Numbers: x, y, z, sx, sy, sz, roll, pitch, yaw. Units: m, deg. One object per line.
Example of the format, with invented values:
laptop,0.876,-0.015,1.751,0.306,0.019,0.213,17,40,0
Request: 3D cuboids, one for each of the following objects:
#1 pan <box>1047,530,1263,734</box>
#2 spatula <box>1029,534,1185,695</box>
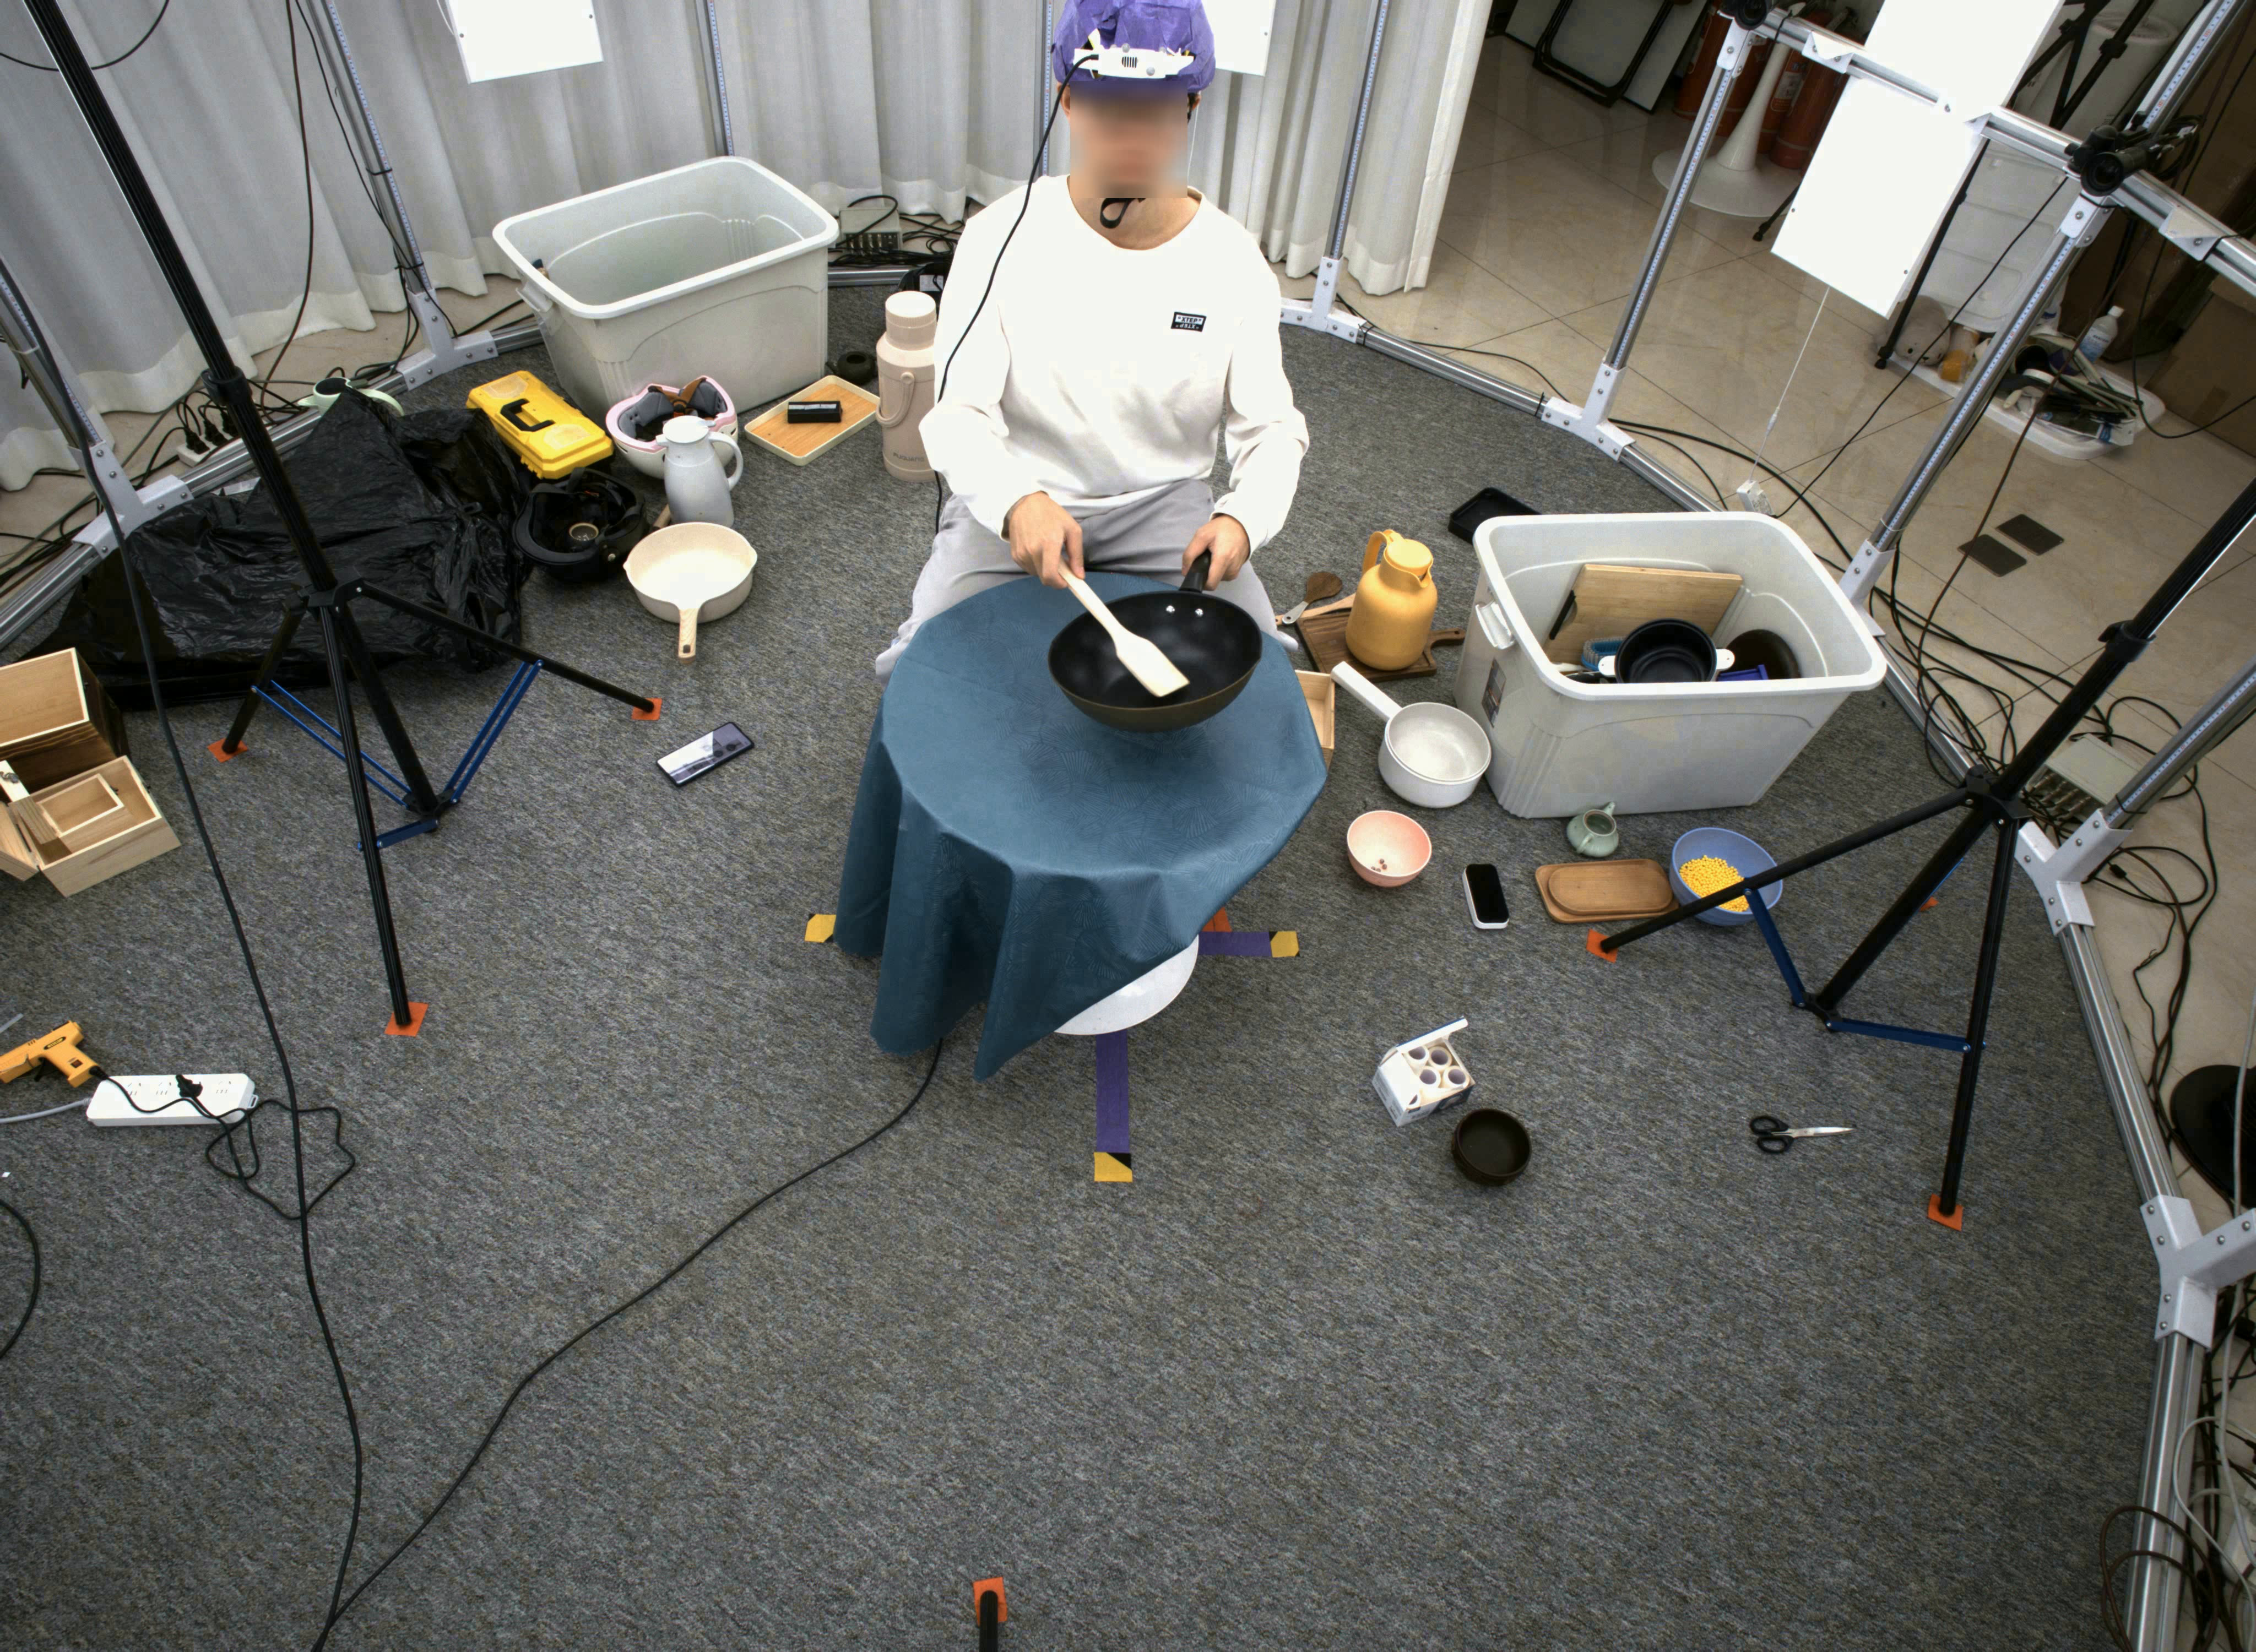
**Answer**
pan,0.068,-0.263,1.762,0.289,0.085,0.472,8,42,19
spatula,-0.037,-0.289,1.735,0.073,0.010,0.296,-28,72,-44
